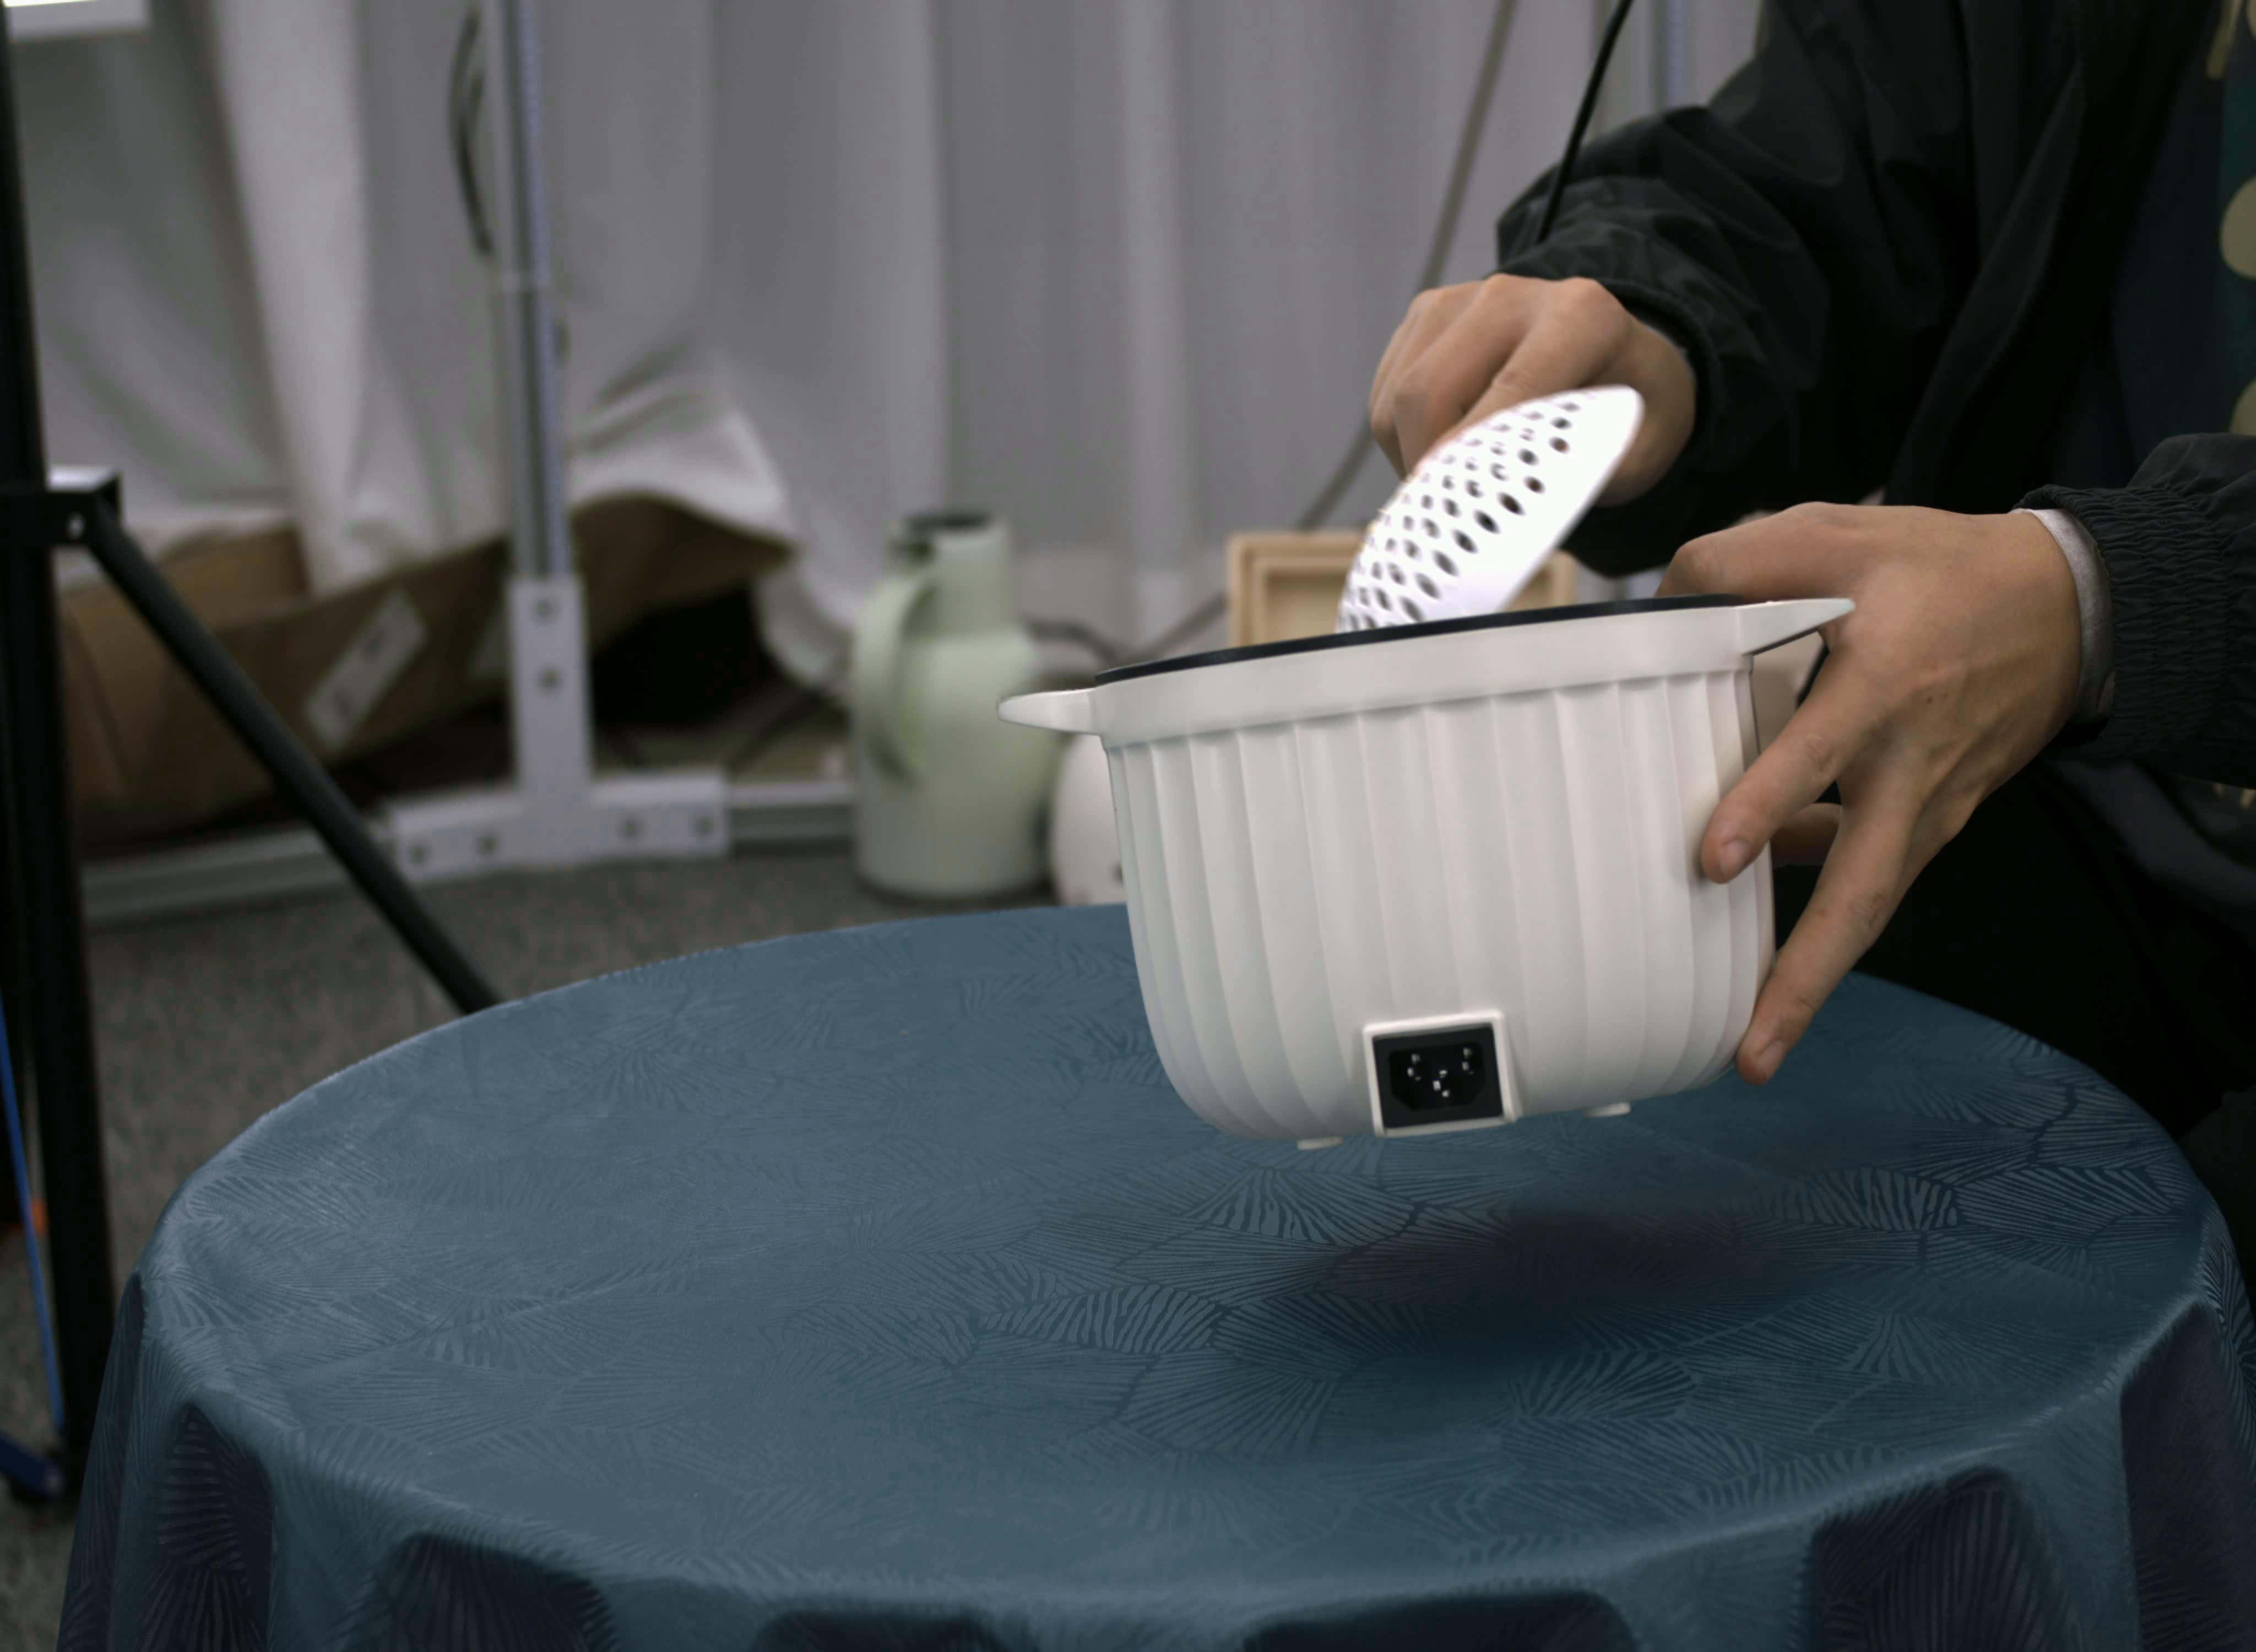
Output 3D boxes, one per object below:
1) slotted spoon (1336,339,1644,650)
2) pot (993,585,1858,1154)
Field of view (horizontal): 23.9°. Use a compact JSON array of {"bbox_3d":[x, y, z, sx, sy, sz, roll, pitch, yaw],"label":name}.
[{"bbox_3d":[0.097,-0.100,1.575,0.050,0.137,0.347,33,12,-2],"label":"slotted spoon"},{"bbox_3d":[0.087,0.013,1.465,0.241,0.143,0.189,-6,3,10],"label":"pot"}]
